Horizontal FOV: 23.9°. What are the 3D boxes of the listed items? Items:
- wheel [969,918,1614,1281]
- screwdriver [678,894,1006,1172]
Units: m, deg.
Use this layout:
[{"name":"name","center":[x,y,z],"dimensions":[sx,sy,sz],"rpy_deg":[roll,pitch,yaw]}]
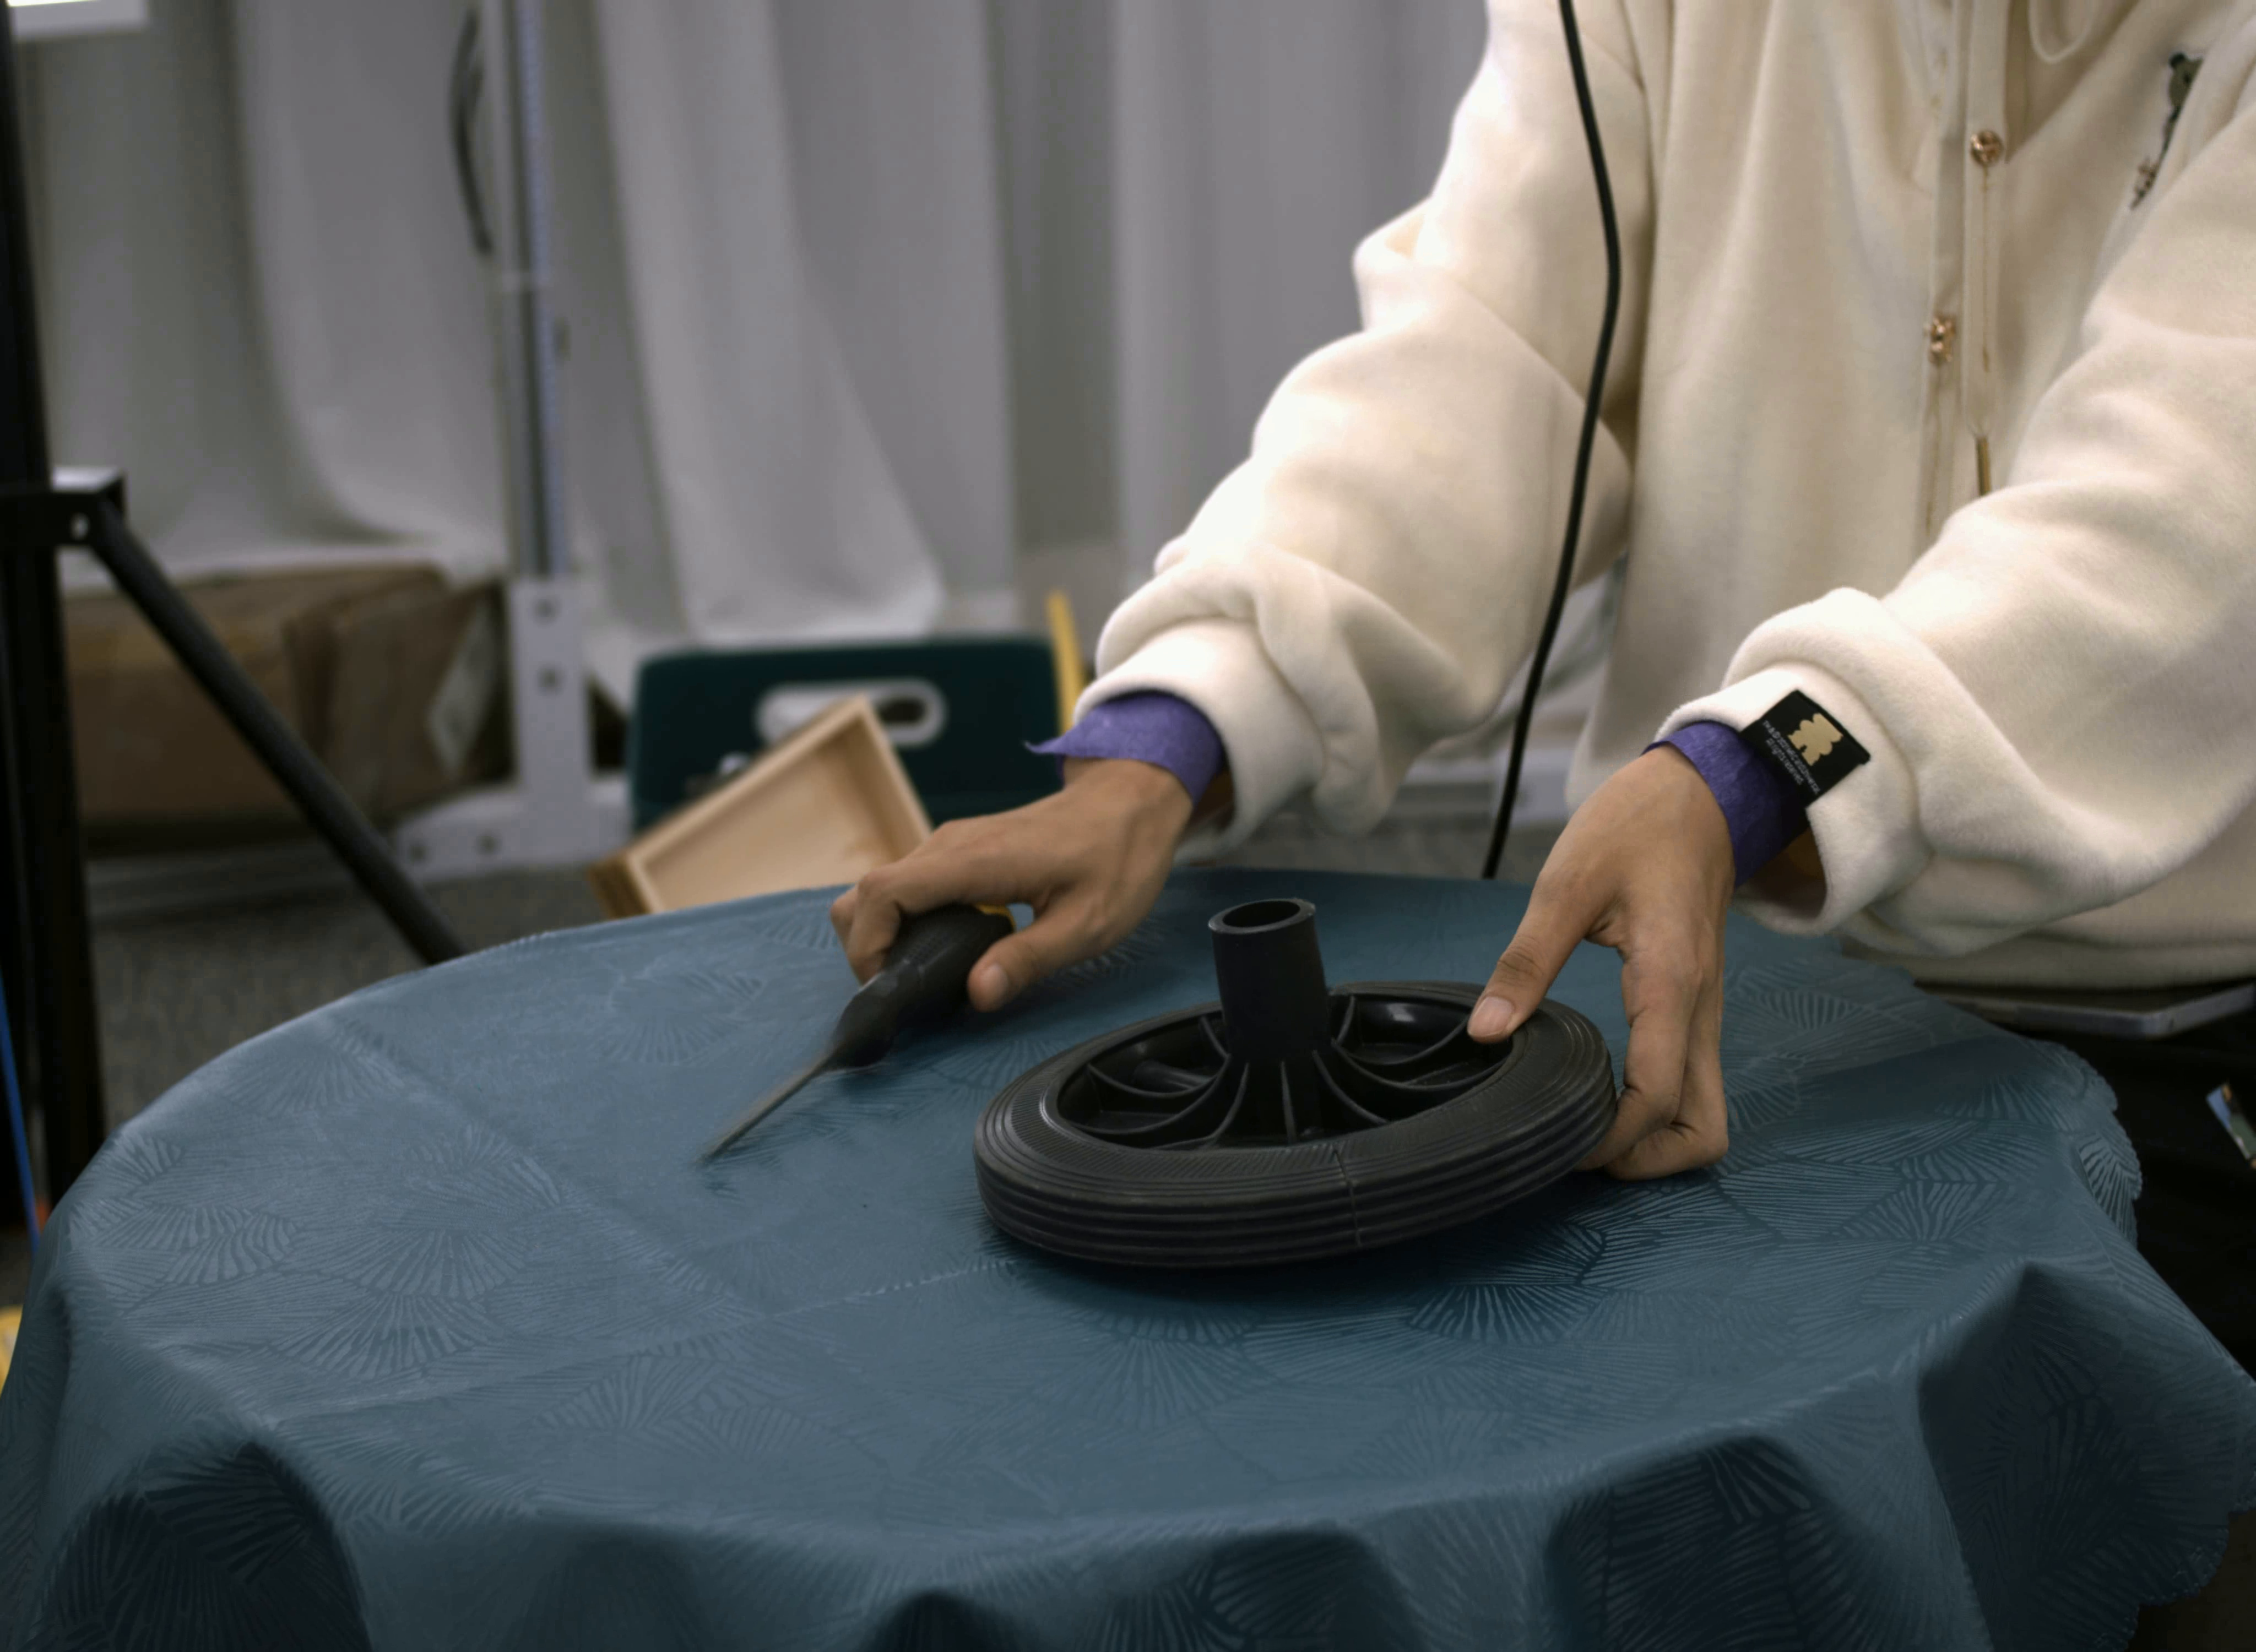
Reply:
[{"name":"wheel","center":[0.043,0.069,1.538],"dimensions":[0.193,0.079,0.184],"rpy_deg":[-3,17,30]},{"name":"screwdriver","center":[-0.093,0.065,1.671],"dimensions":[0.032,0.031,0.195],"rpy_deg":[7,23,29]}]
